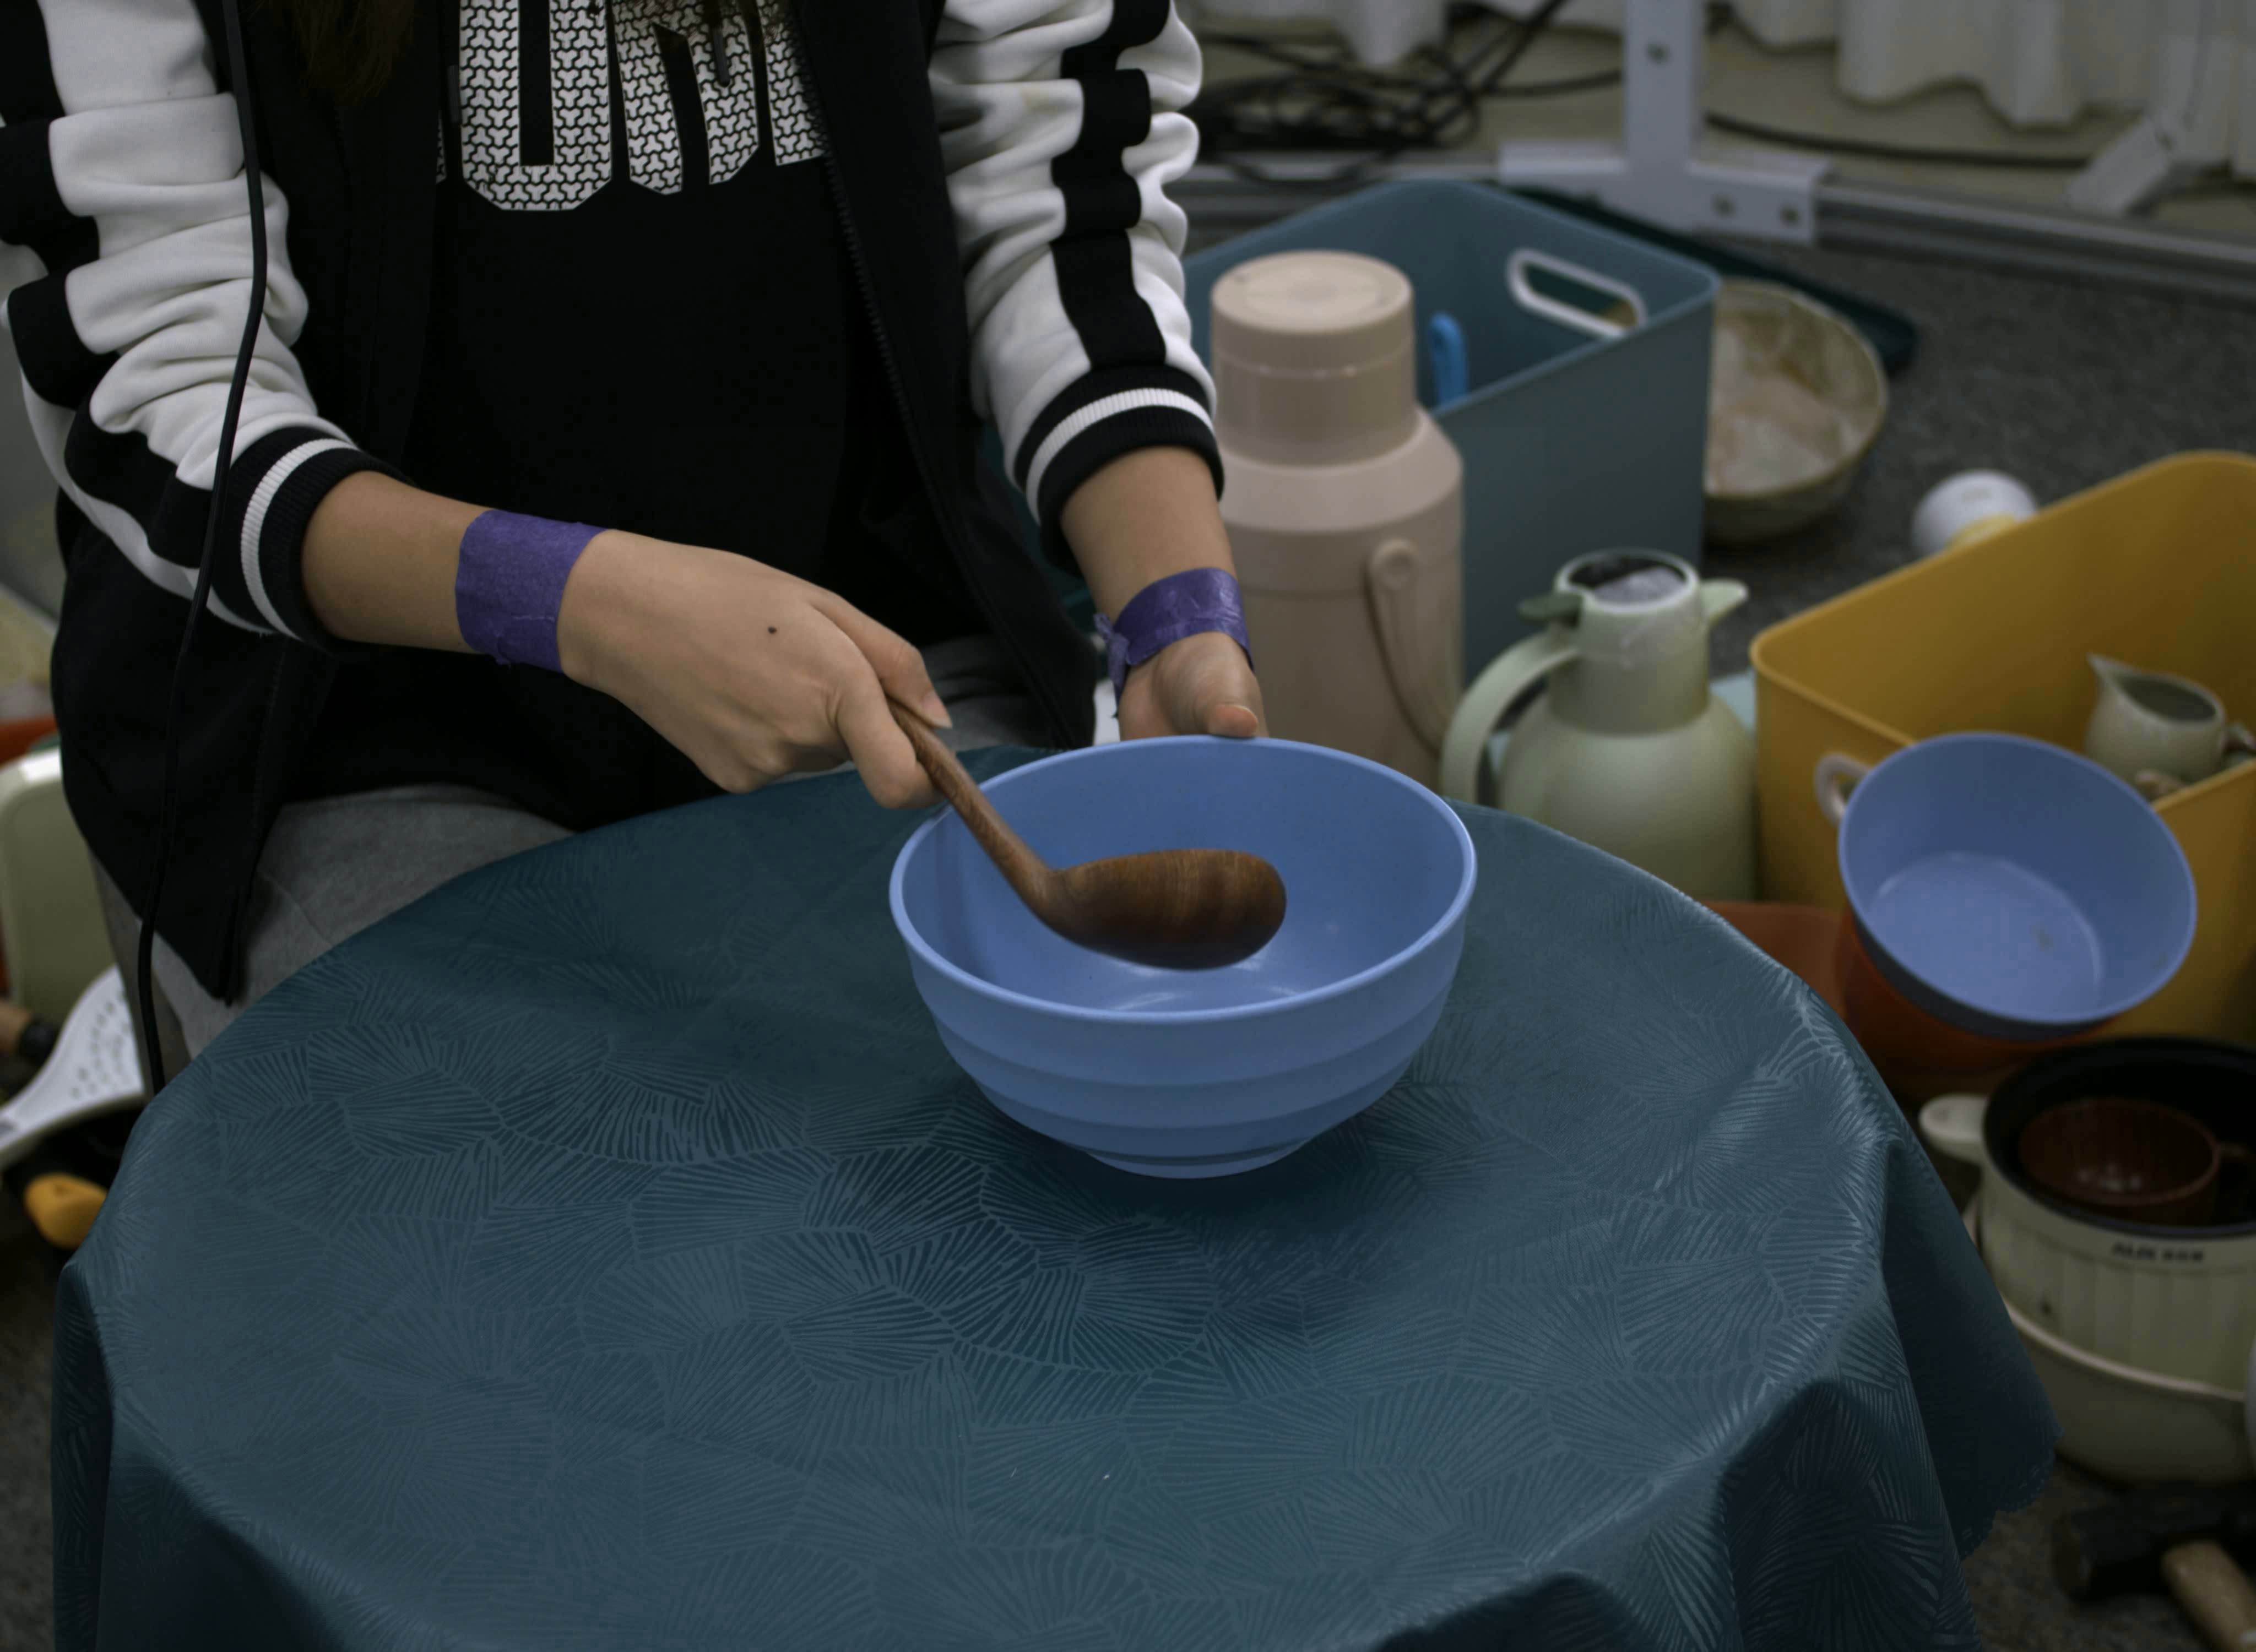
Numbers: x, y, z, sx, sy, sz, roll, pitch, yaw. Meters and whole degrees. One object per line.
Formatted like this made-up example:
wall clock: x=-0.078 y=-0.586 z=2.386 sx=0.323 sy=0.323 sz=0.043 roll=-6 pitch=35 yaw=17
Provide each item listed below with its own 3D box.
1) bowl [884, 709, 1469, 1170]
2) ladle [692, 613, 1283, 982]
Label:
bowl: x=0.021 y=0.051 z=1.894 sx=0.195 sy=0.094 sz=0.200 roll=-5 pitch=32 yaw=4
ladle: x=-0.050 y=-0.023 z=1.900 sx=0.261 sy=0.076 sz=0.065 roll=39 pitch=90 yaw=35
